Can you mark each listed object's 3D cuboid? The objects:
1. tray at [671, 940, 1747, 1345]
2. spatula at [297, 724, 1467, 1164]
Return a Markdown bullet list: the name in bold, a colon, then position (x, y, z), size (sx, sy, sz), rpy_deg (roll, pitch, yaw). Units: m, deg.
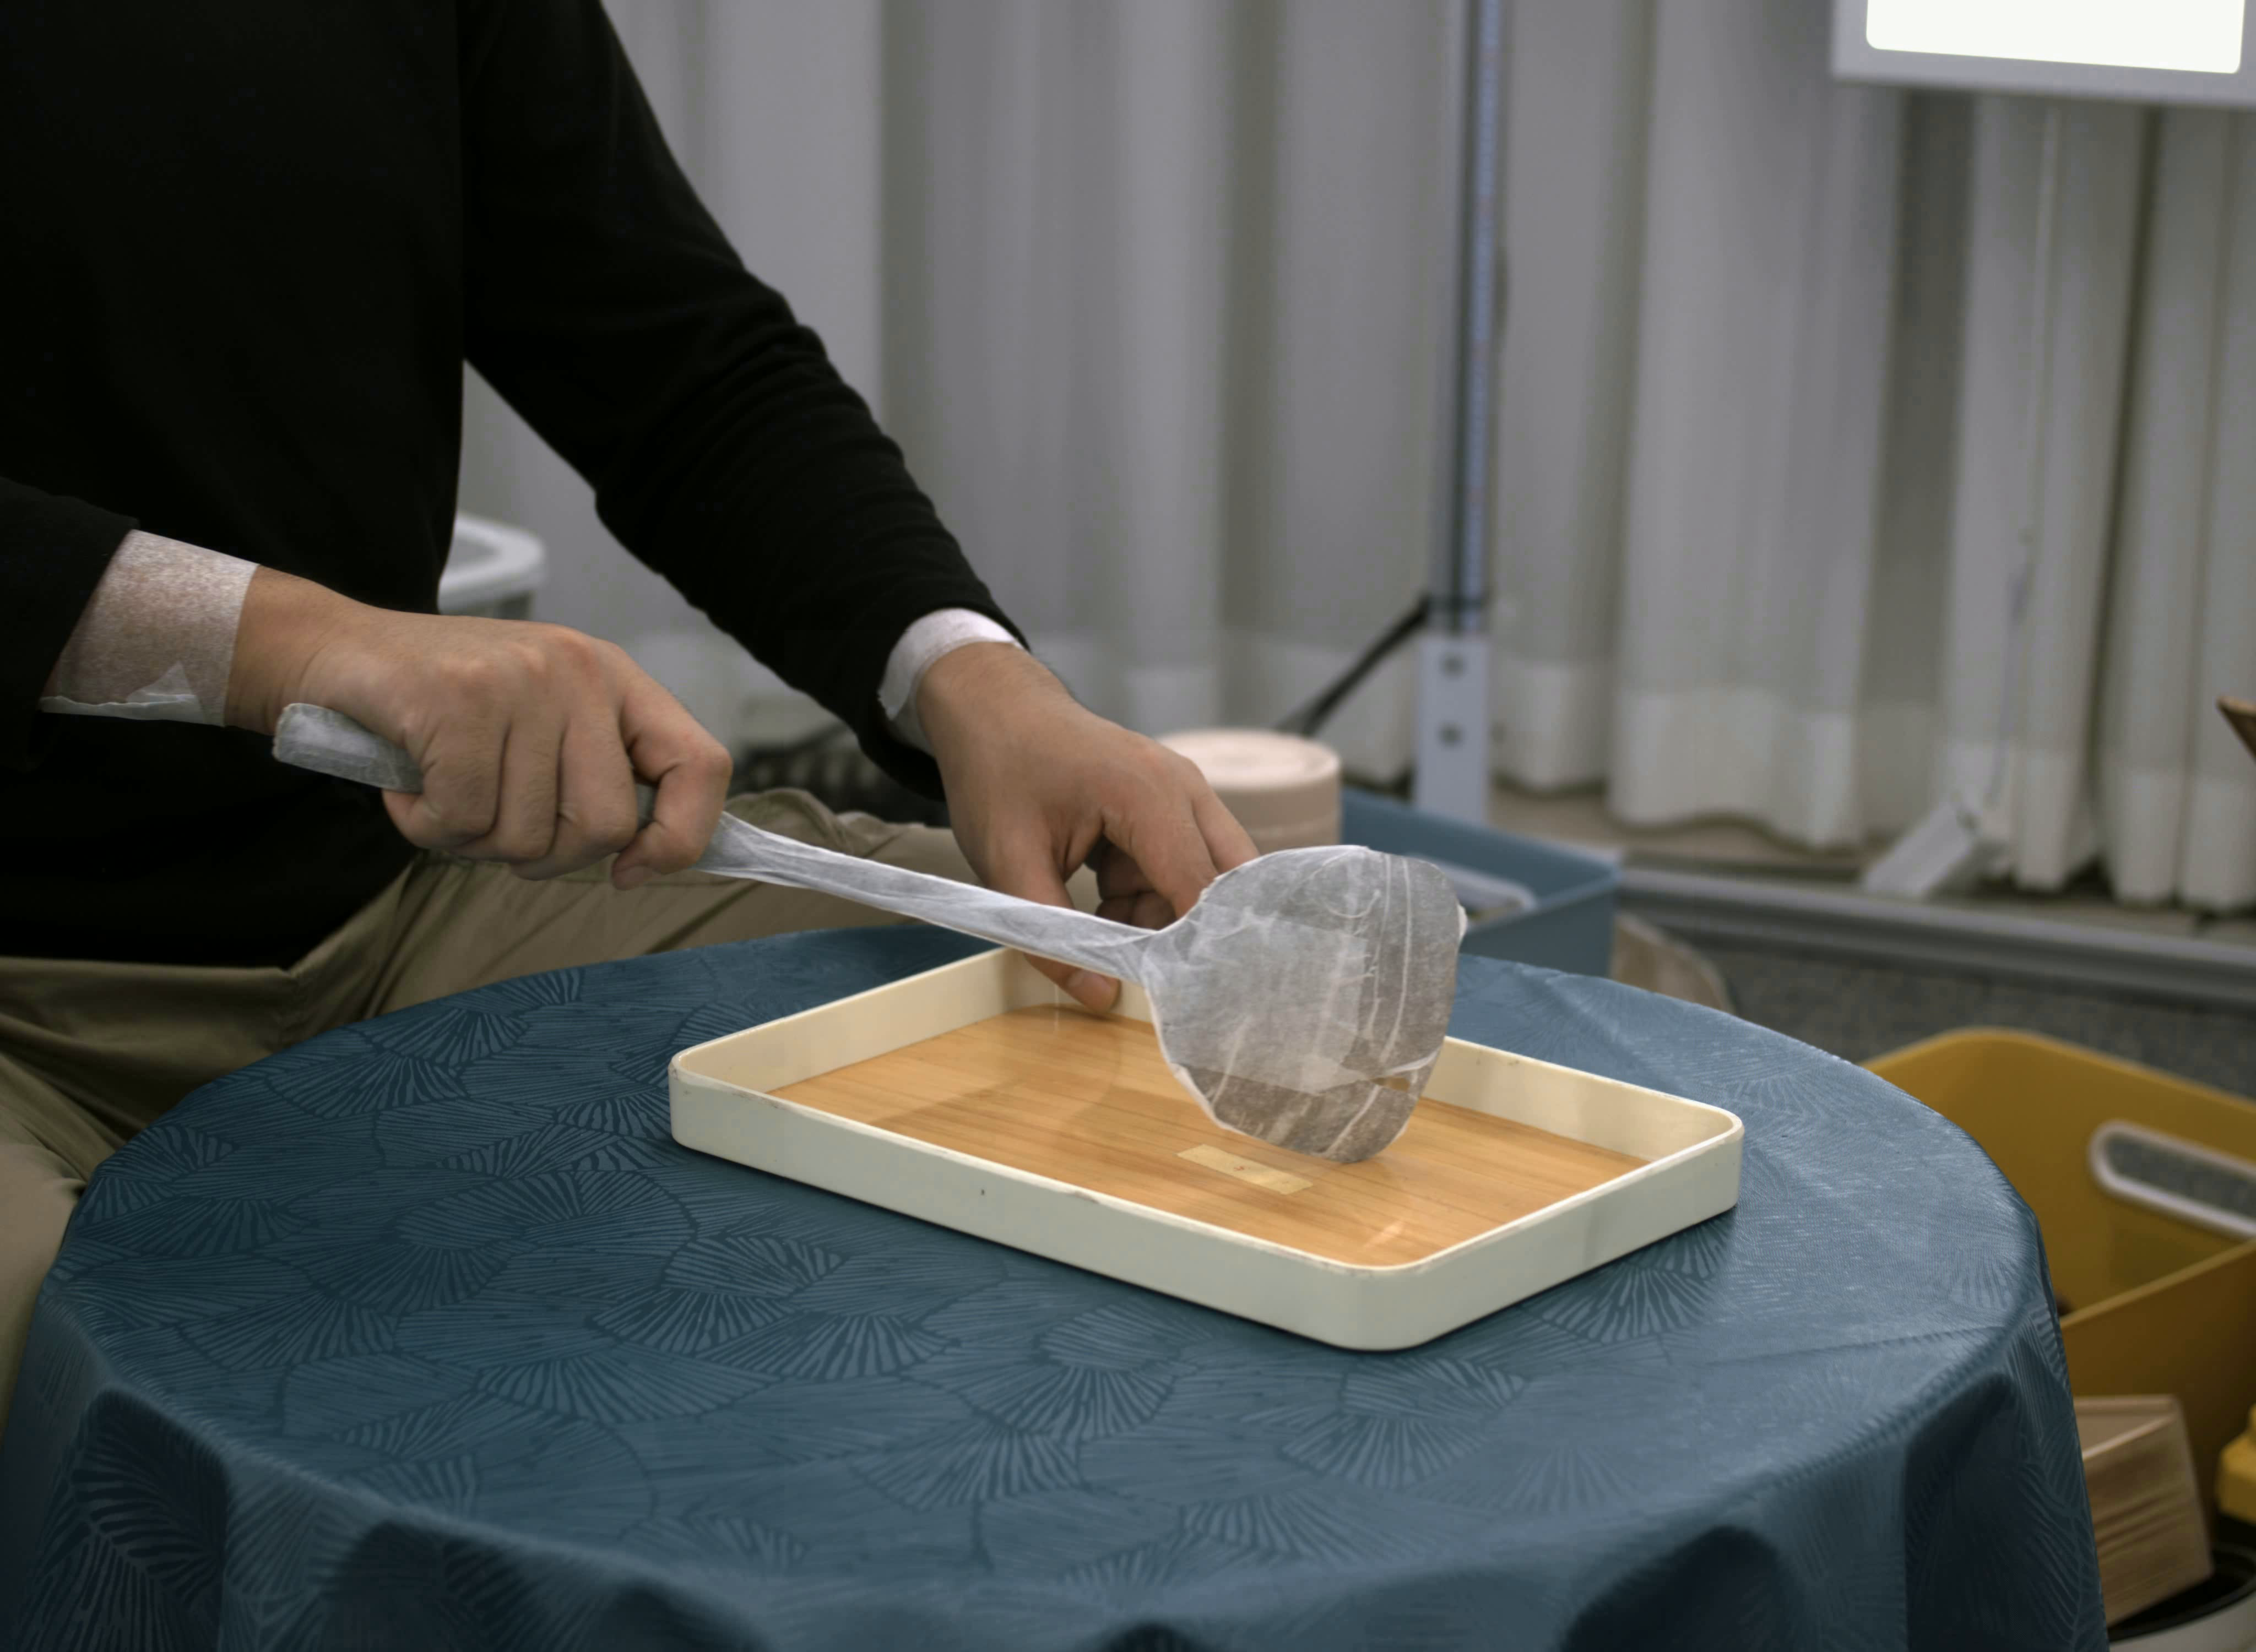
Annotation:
- **tray**: position (0.022, 0.094, 1.637), size (0.296, 0.027, 0.192), rpy_deg (13, 20, 39)
- **spatula**: position (-0.069, 0.019, 1.586), size (0.365, 0.099, 0.044), rpy_deg (15, 3, -10)
